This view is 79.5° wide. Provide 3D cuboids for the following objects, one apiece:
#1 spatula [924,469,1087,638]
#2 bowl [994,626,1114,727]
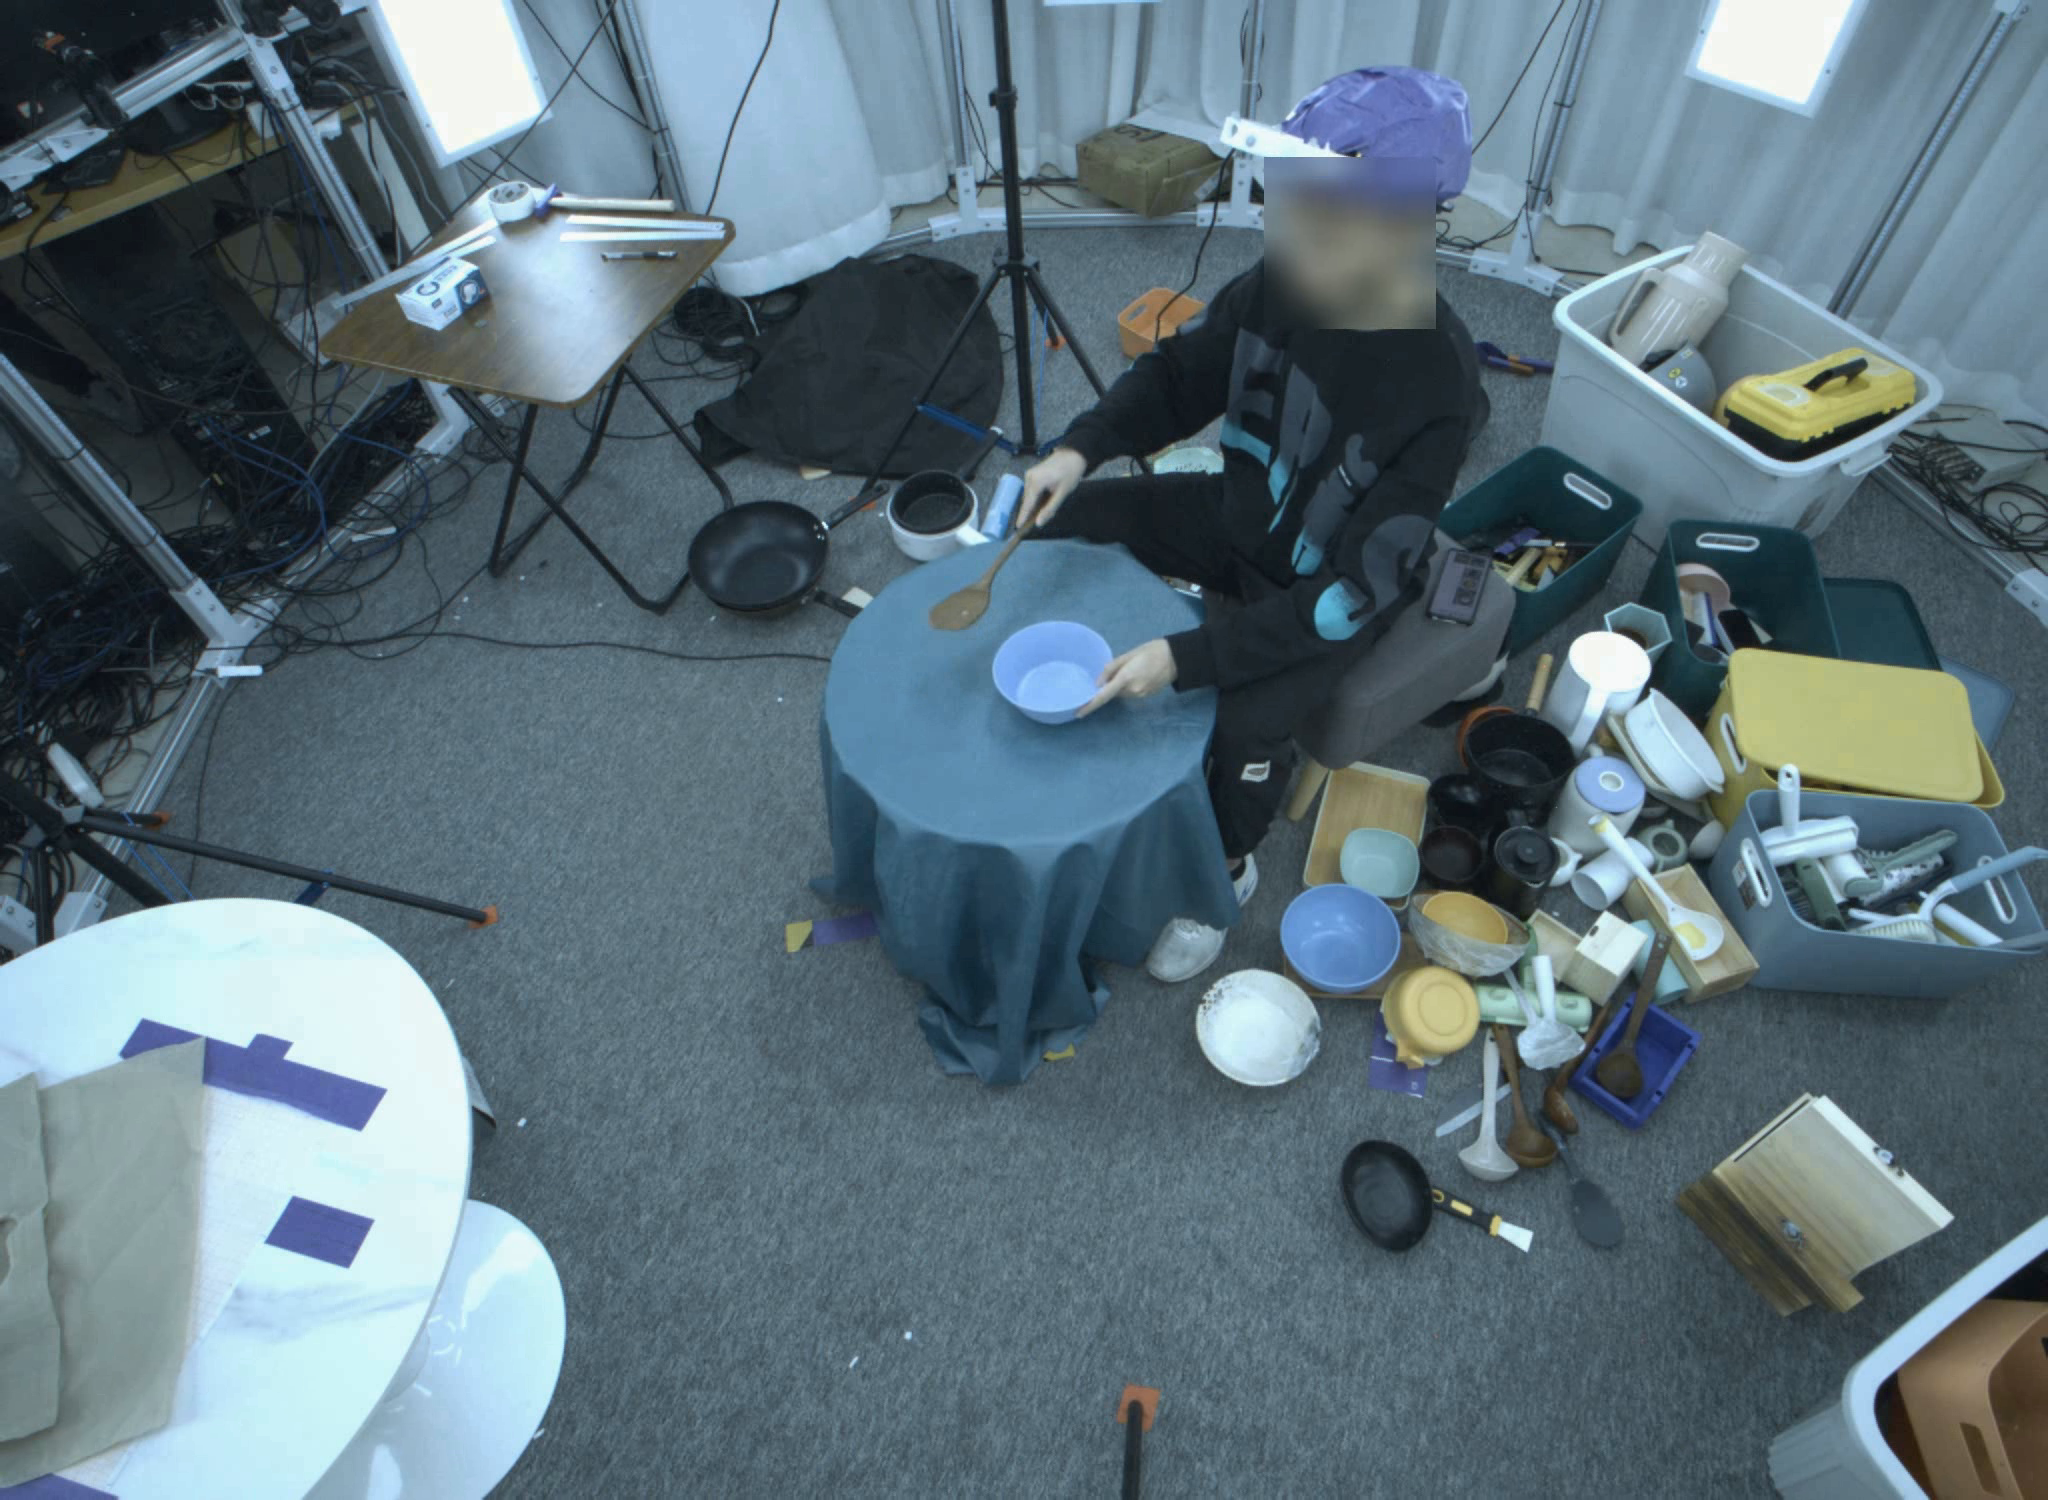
[{"bbox_3d":[-0.015,-0.307,1.863,0.094,0.016,0.387,17,60,38],"label":"spatula"},{"bbox_3d":[0.046,-0.099,1.820,0.176,0.071,0.174,-1,52,3],"label":"bowl"}]
